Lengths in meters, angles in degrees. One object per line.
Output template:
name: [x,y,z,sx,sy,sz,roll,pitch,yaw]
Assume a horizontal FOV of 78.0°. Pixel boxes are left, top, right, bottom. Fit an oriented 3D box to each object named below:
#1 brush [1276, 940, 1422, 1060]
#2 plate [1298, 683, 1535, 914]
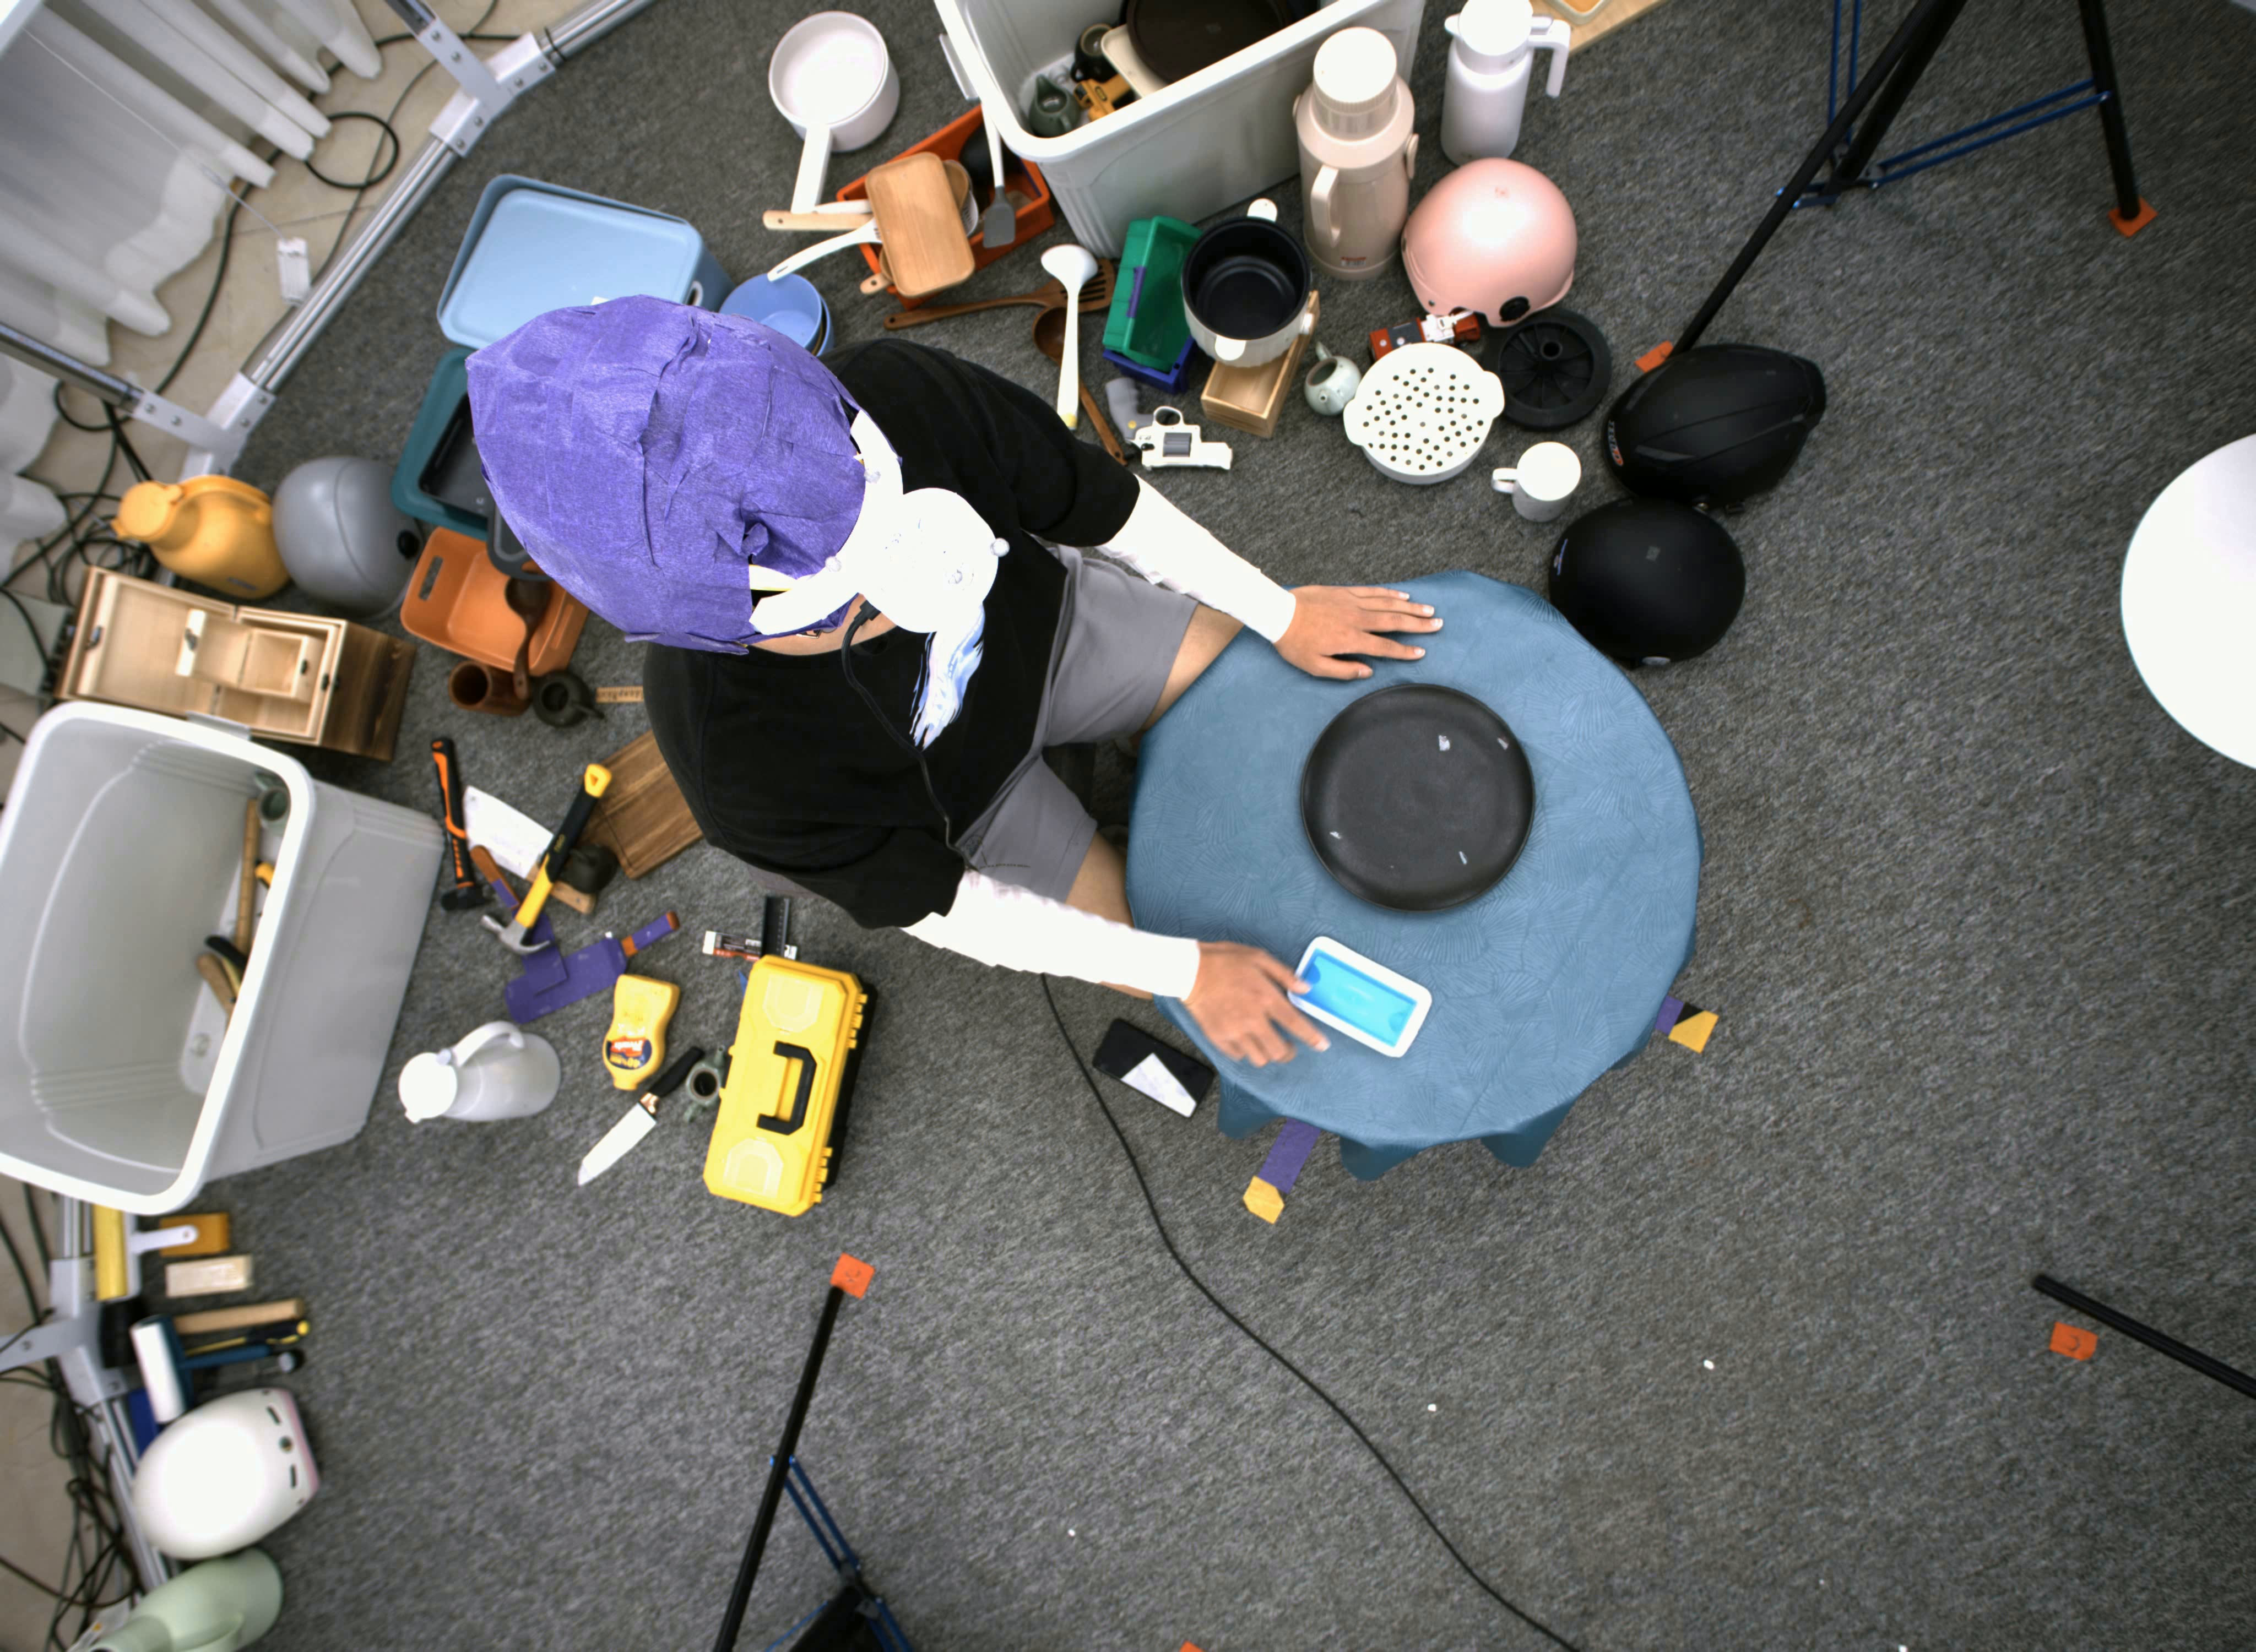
brush: [0.229,0.177,1.429,0.144,0.056,0.083,26,87,8]
plate: [0.302,-0.030,1.445,0.245,0.023,0.243,-1,87,11]
